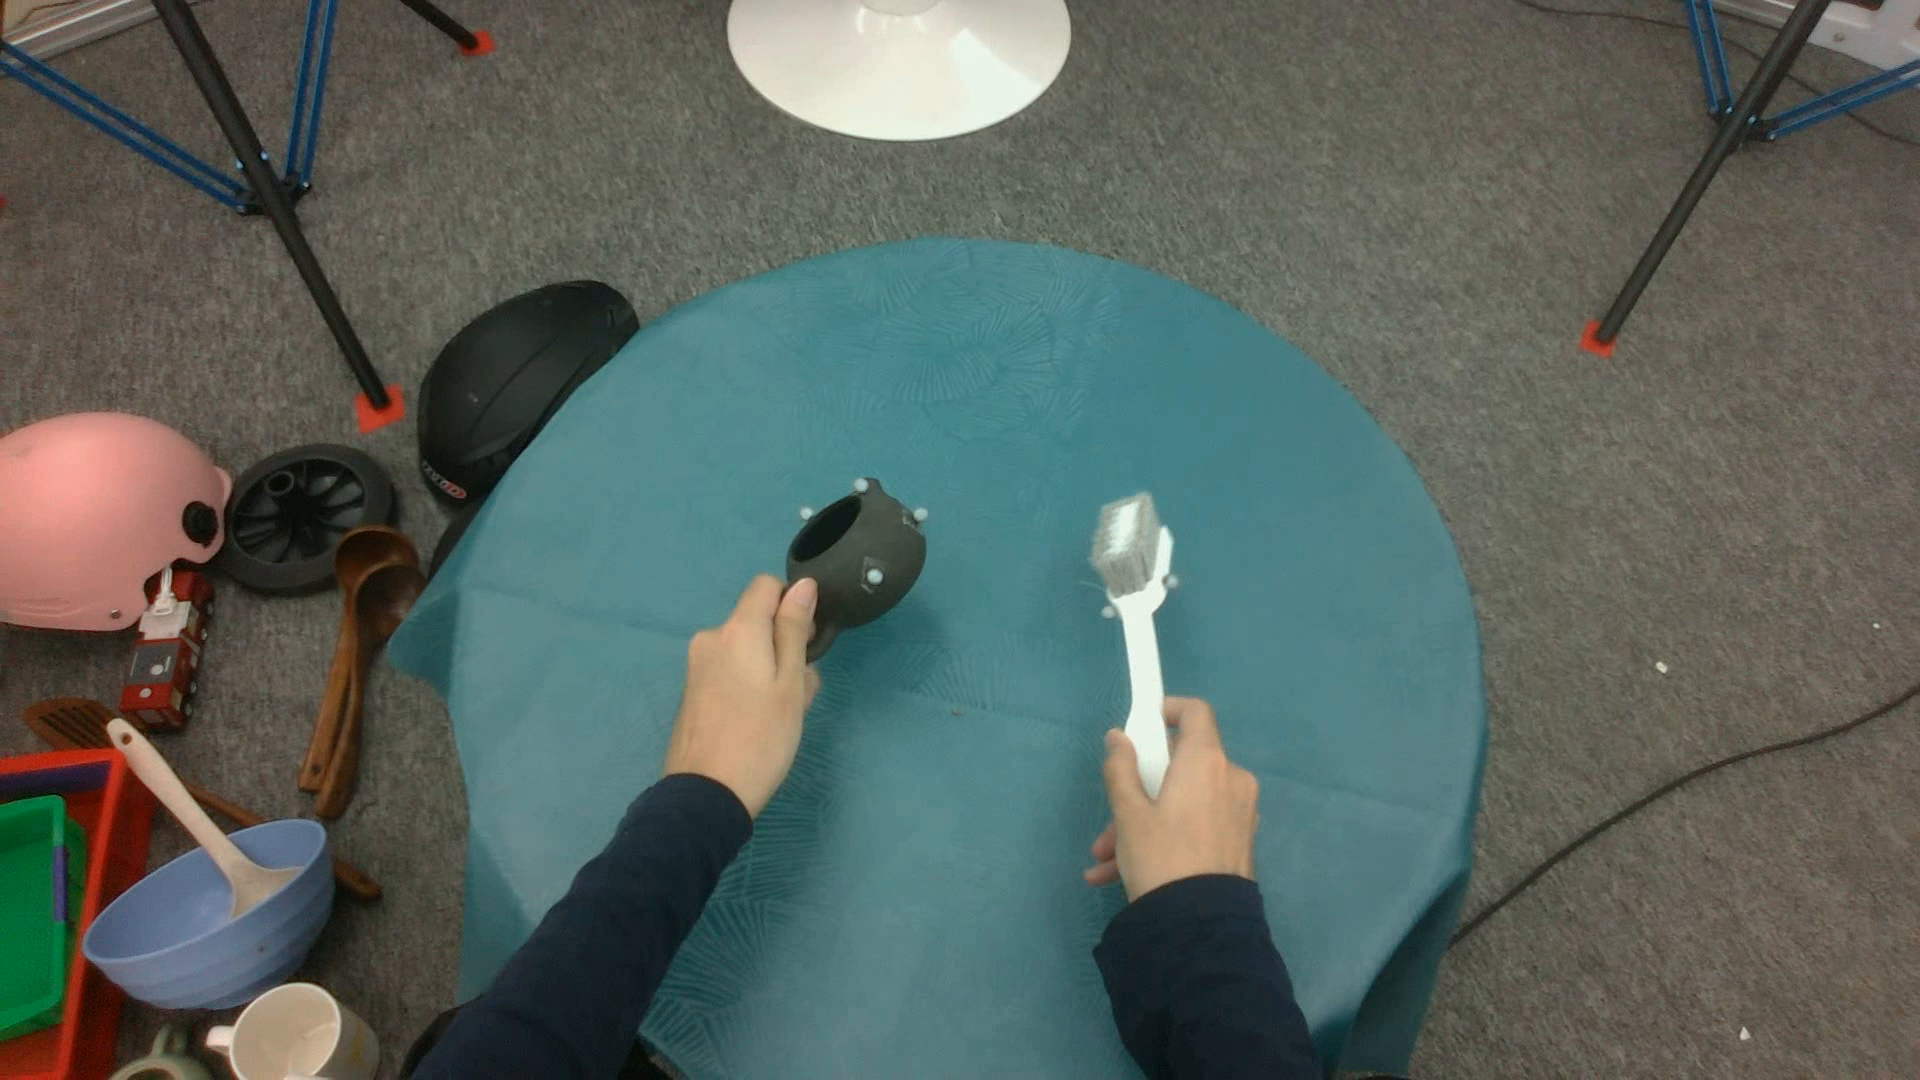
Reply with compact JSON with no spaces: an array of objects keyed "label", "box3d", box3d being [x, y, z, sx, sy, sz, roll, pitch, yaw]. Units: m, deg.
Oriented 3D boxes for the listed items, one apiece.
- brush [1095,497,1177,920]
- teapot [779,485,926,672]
[{"label":"brush","box3d":[0.091,0.078,0.732,0.034,0.050,0.245,-13,48,26]},{"label":"teapot","box3d":[-0.064,0.023,0.762,0.082,0.053,0.114,-9,39,48]}]
